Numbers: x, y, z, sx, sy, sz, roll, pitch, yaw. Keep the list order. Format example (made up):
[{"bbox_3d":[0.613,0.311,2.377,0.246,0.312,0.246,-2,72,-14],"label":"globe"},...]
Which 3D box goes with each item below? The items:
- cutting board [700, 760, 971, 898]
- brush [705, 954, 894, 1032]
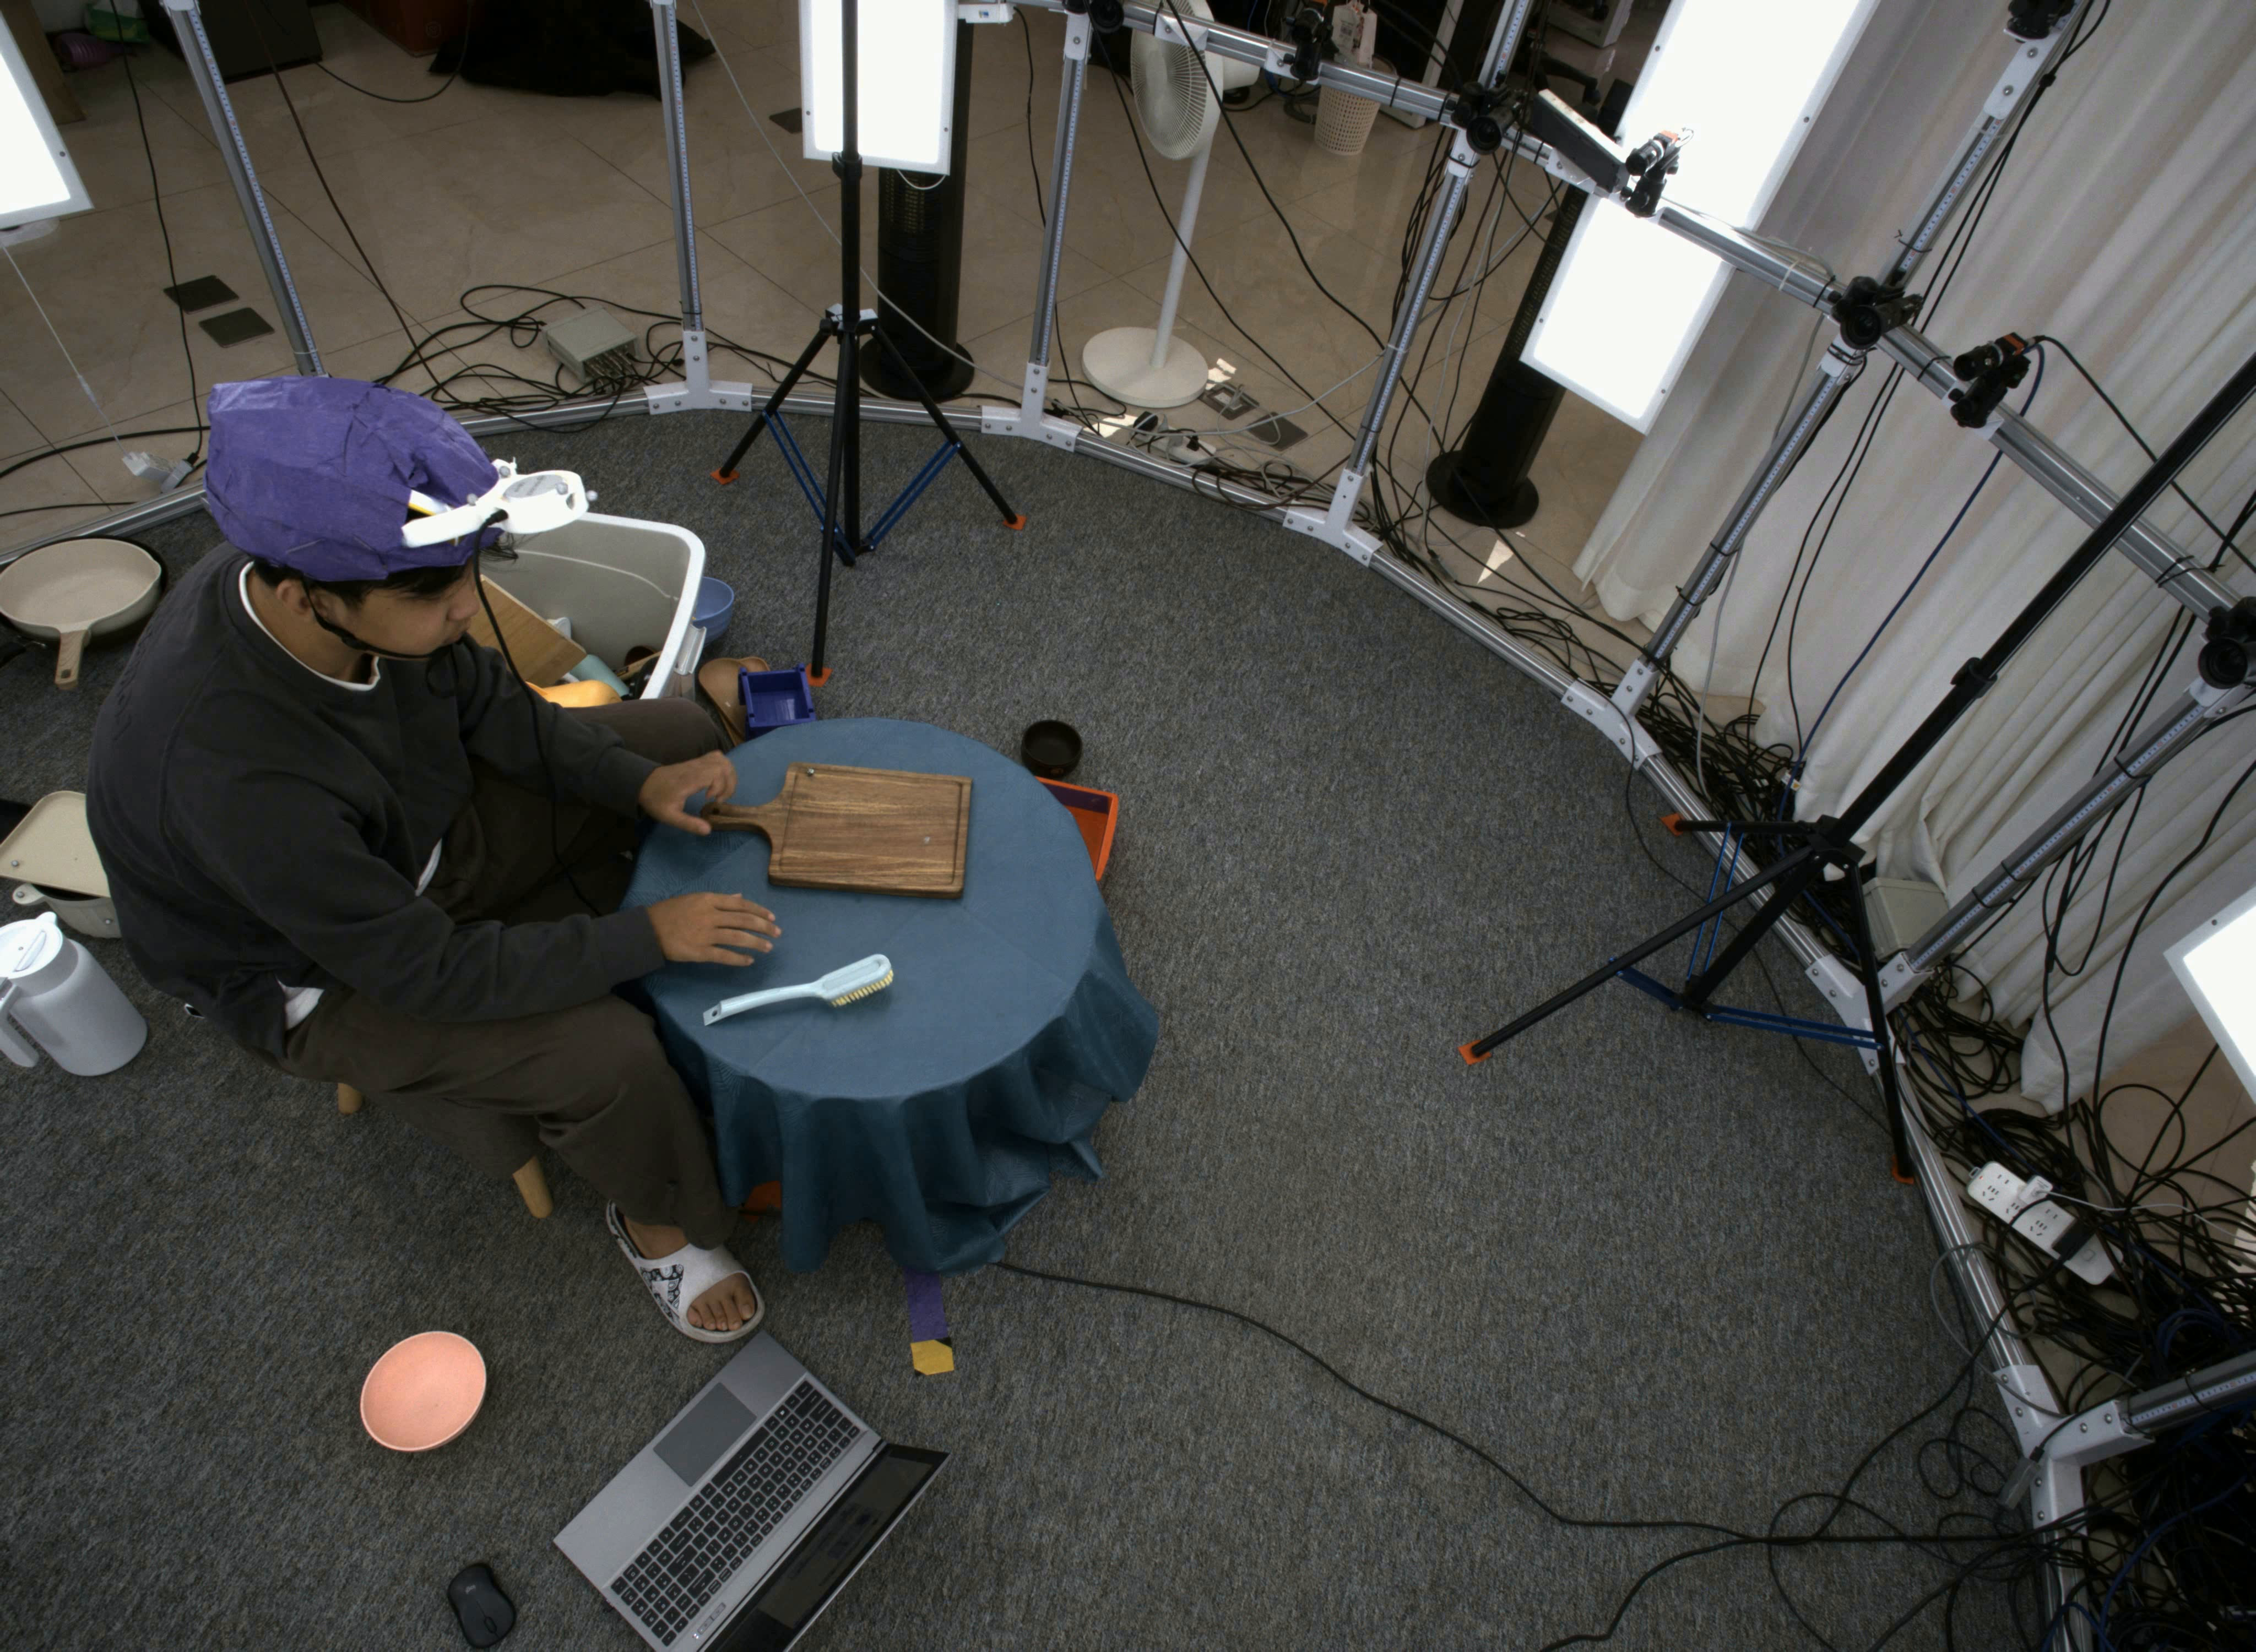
[{"bbox_3d":[-0.387,-0.003,1.719,0.351,0.023,0.197,5,52,-10],"label":"cutting board"},{"bbox_3d":[-0.392,0.205,1.554,0.228,0.051,0.036,-16,51,-14],"label":"brush"}]
